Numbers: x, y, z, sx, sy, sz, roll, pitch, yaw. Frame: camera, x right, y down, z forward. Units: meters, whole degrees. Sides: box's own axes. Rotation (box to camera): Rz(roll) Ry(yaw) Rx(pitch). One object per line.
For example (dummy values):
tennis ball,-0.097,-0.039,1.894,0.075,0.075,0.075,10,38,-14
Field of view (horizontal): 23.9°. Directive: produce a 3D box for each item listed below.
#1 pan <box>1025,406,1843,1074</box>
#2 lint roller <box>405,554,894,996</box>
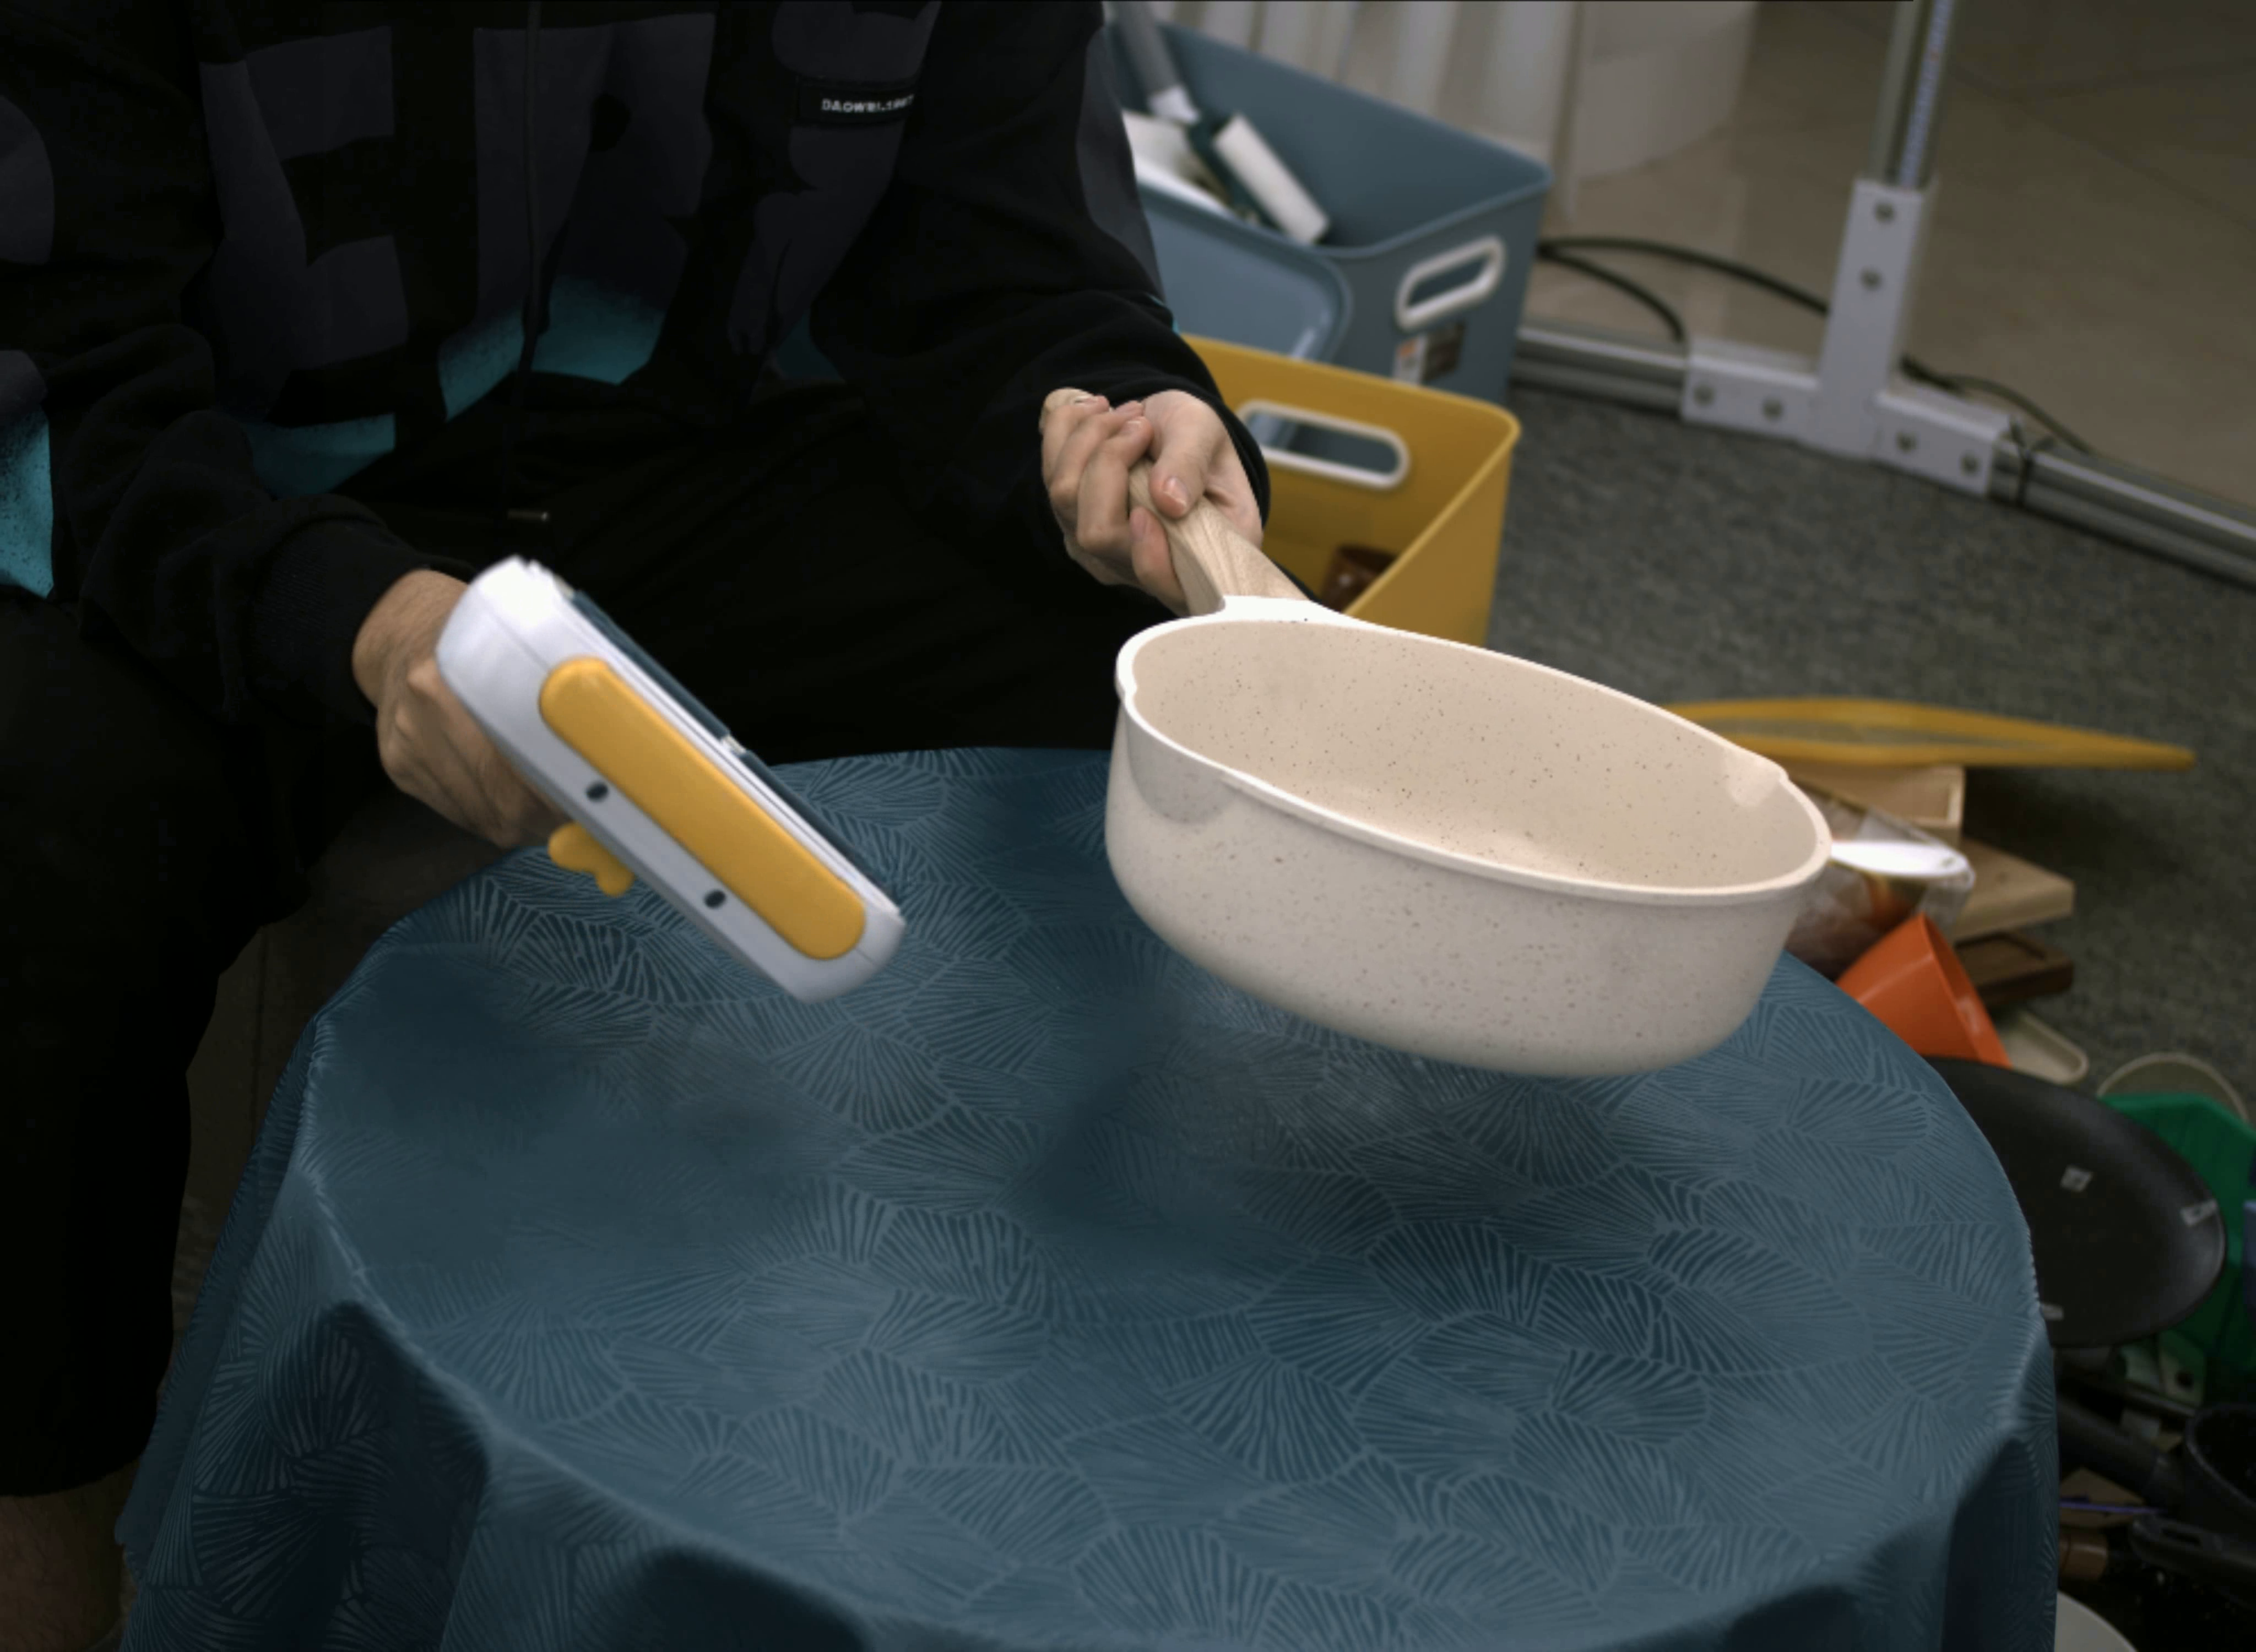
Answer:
pan,0.069,-0.032,1.886,0.261,0.102,0.438,0,22,-31
lint roller,-0.183,-0.021,1.810,0.191,0.074,0.193,37,-4,-25
